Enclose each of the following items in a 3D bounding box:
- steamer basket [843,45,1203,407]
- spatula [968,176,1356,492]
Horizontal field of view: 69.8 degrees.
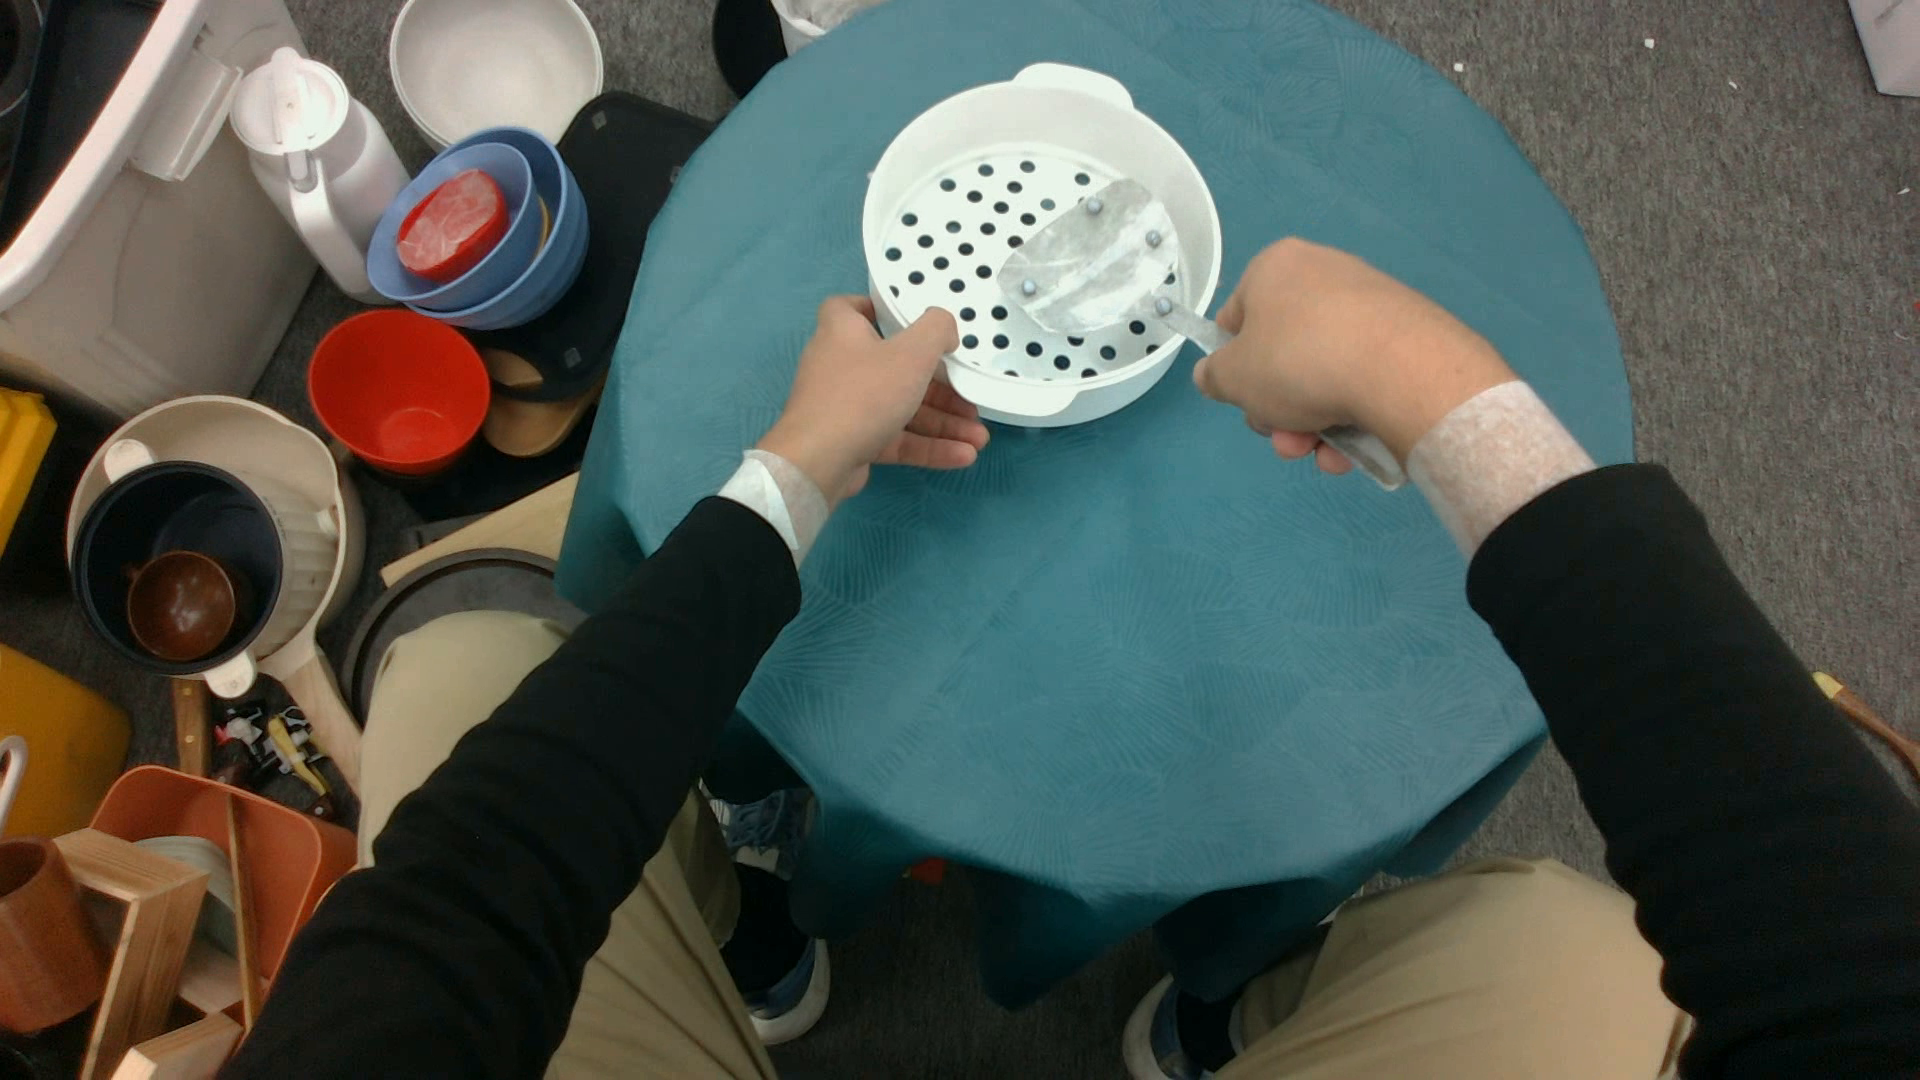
[{"bbox_3d":[0.034,-0.174,0.793,0.202,0.069,0.231,13,69,0],"label":"steamer basket"},{"bbox_3d":[0.092,-0.107,0.649,0.098,0.365,0.044,-33,116,0],"label":"spatula"}]
